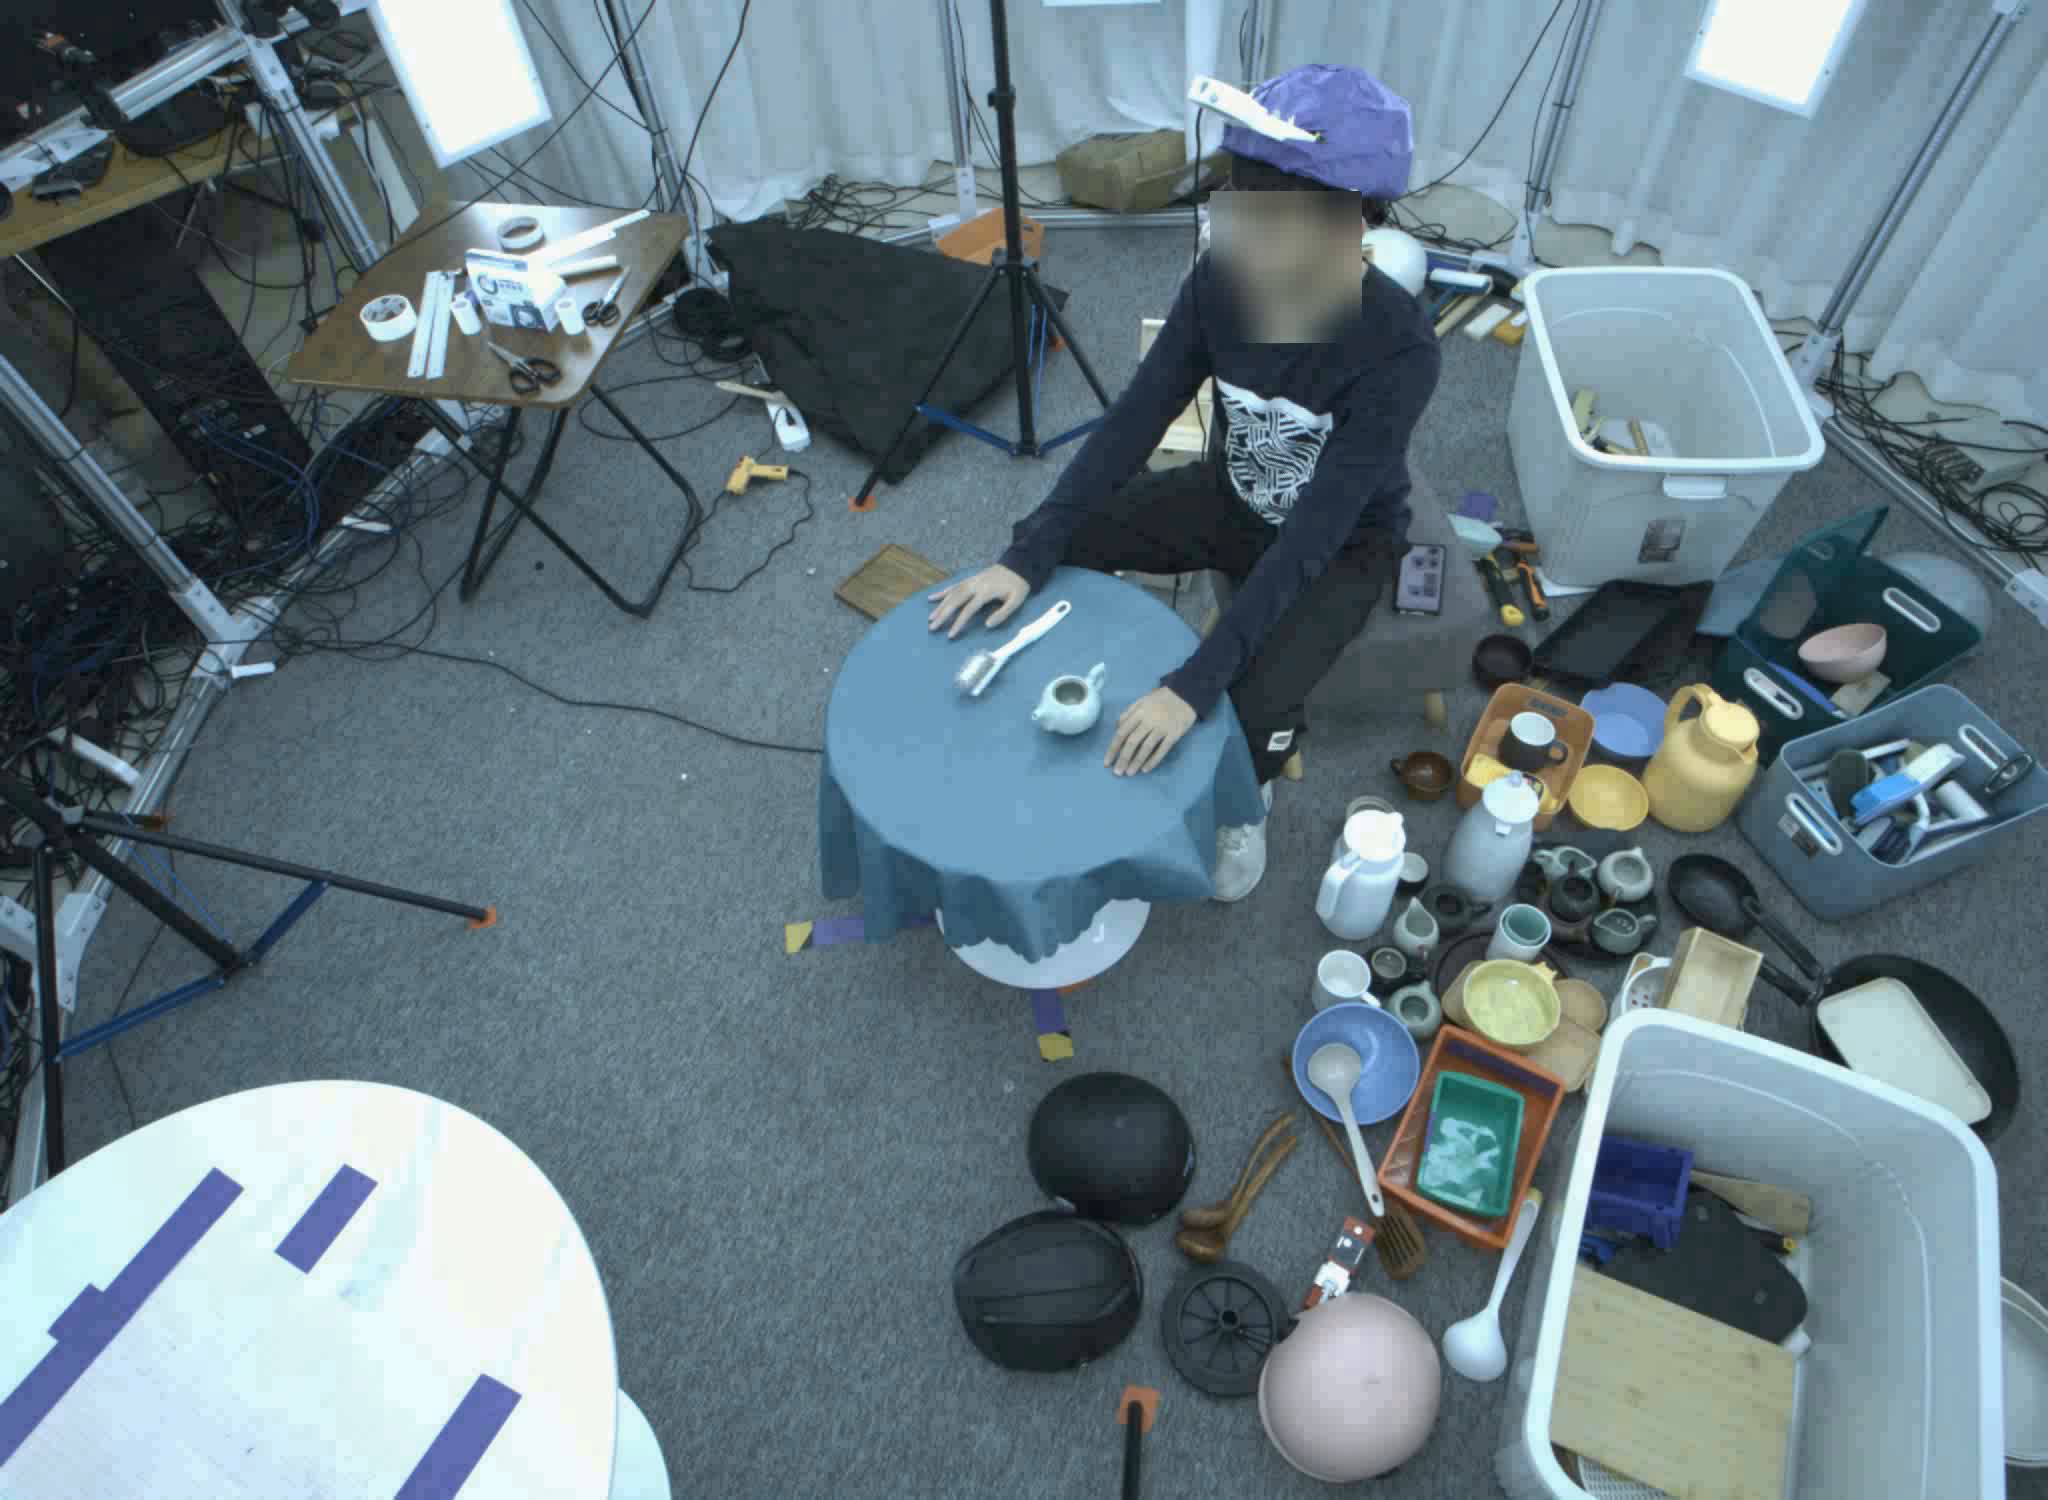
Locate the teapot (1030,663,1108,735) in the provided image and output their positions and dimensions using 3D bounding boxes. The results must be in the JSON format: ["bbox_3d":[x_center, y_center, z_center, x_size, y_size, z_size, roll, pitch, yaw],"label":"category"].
[{"bbox_3d":[0.067,-0.066,1.780,0.145,0.075,0.086,-35,59,-19],"label":"teapot"}]

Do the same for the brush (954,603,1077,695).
[{"bbox_3d":[-0.010,-0.167,1.870,0.245,0.051,0.034,-40,57,-23],"label":"brush"}]
